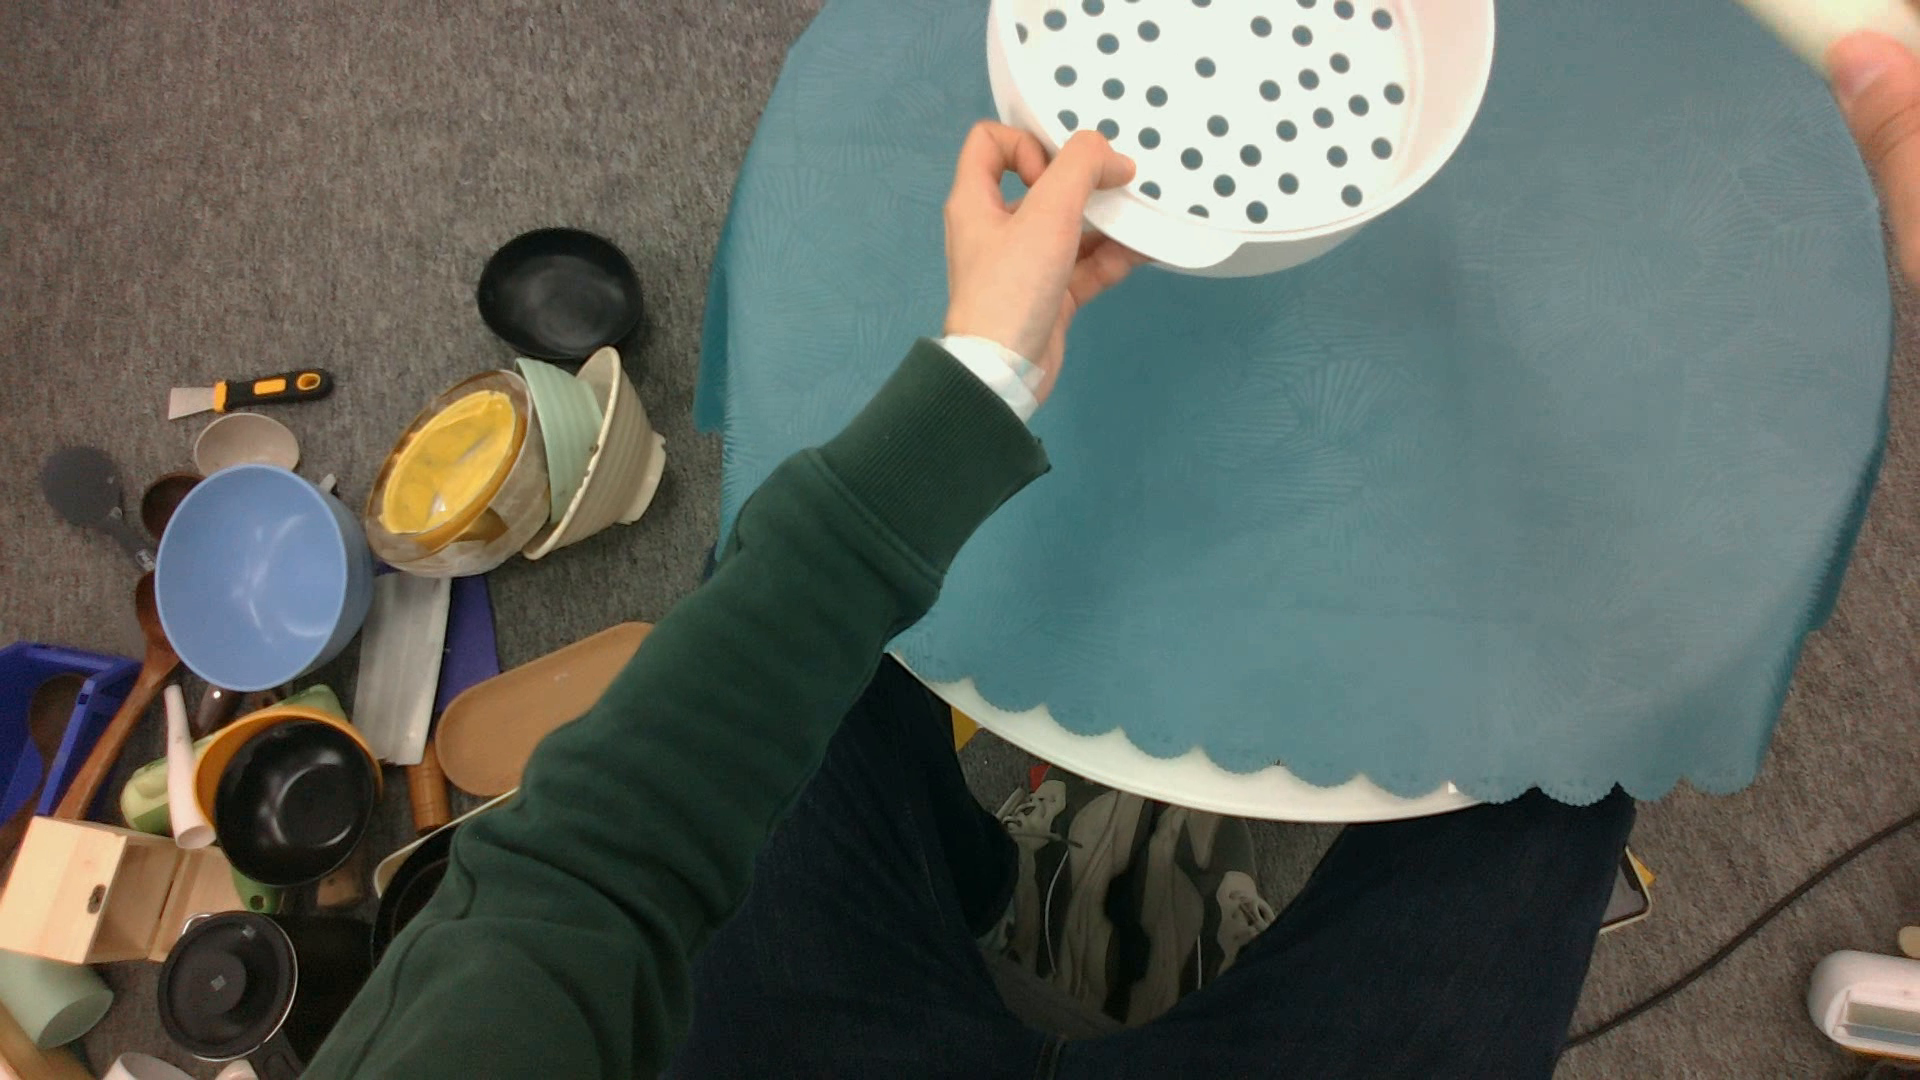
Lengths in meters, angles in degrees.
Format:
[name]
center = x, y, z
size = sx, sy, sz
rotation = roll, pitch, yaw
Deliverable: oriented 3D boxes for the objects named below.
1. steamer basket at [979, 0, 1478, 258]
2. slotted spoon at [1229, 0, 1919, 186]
[steamer basket]
center = 0.106, -0.217, 0.574
size = 0.202, 0.069, 0.231
rotation = 23, 79, -2
[slotted spoon]
center = 0.184, -0.172, 0.377
size = 0.359, 0.075, 0.168
rotation = 54, 125, 27
